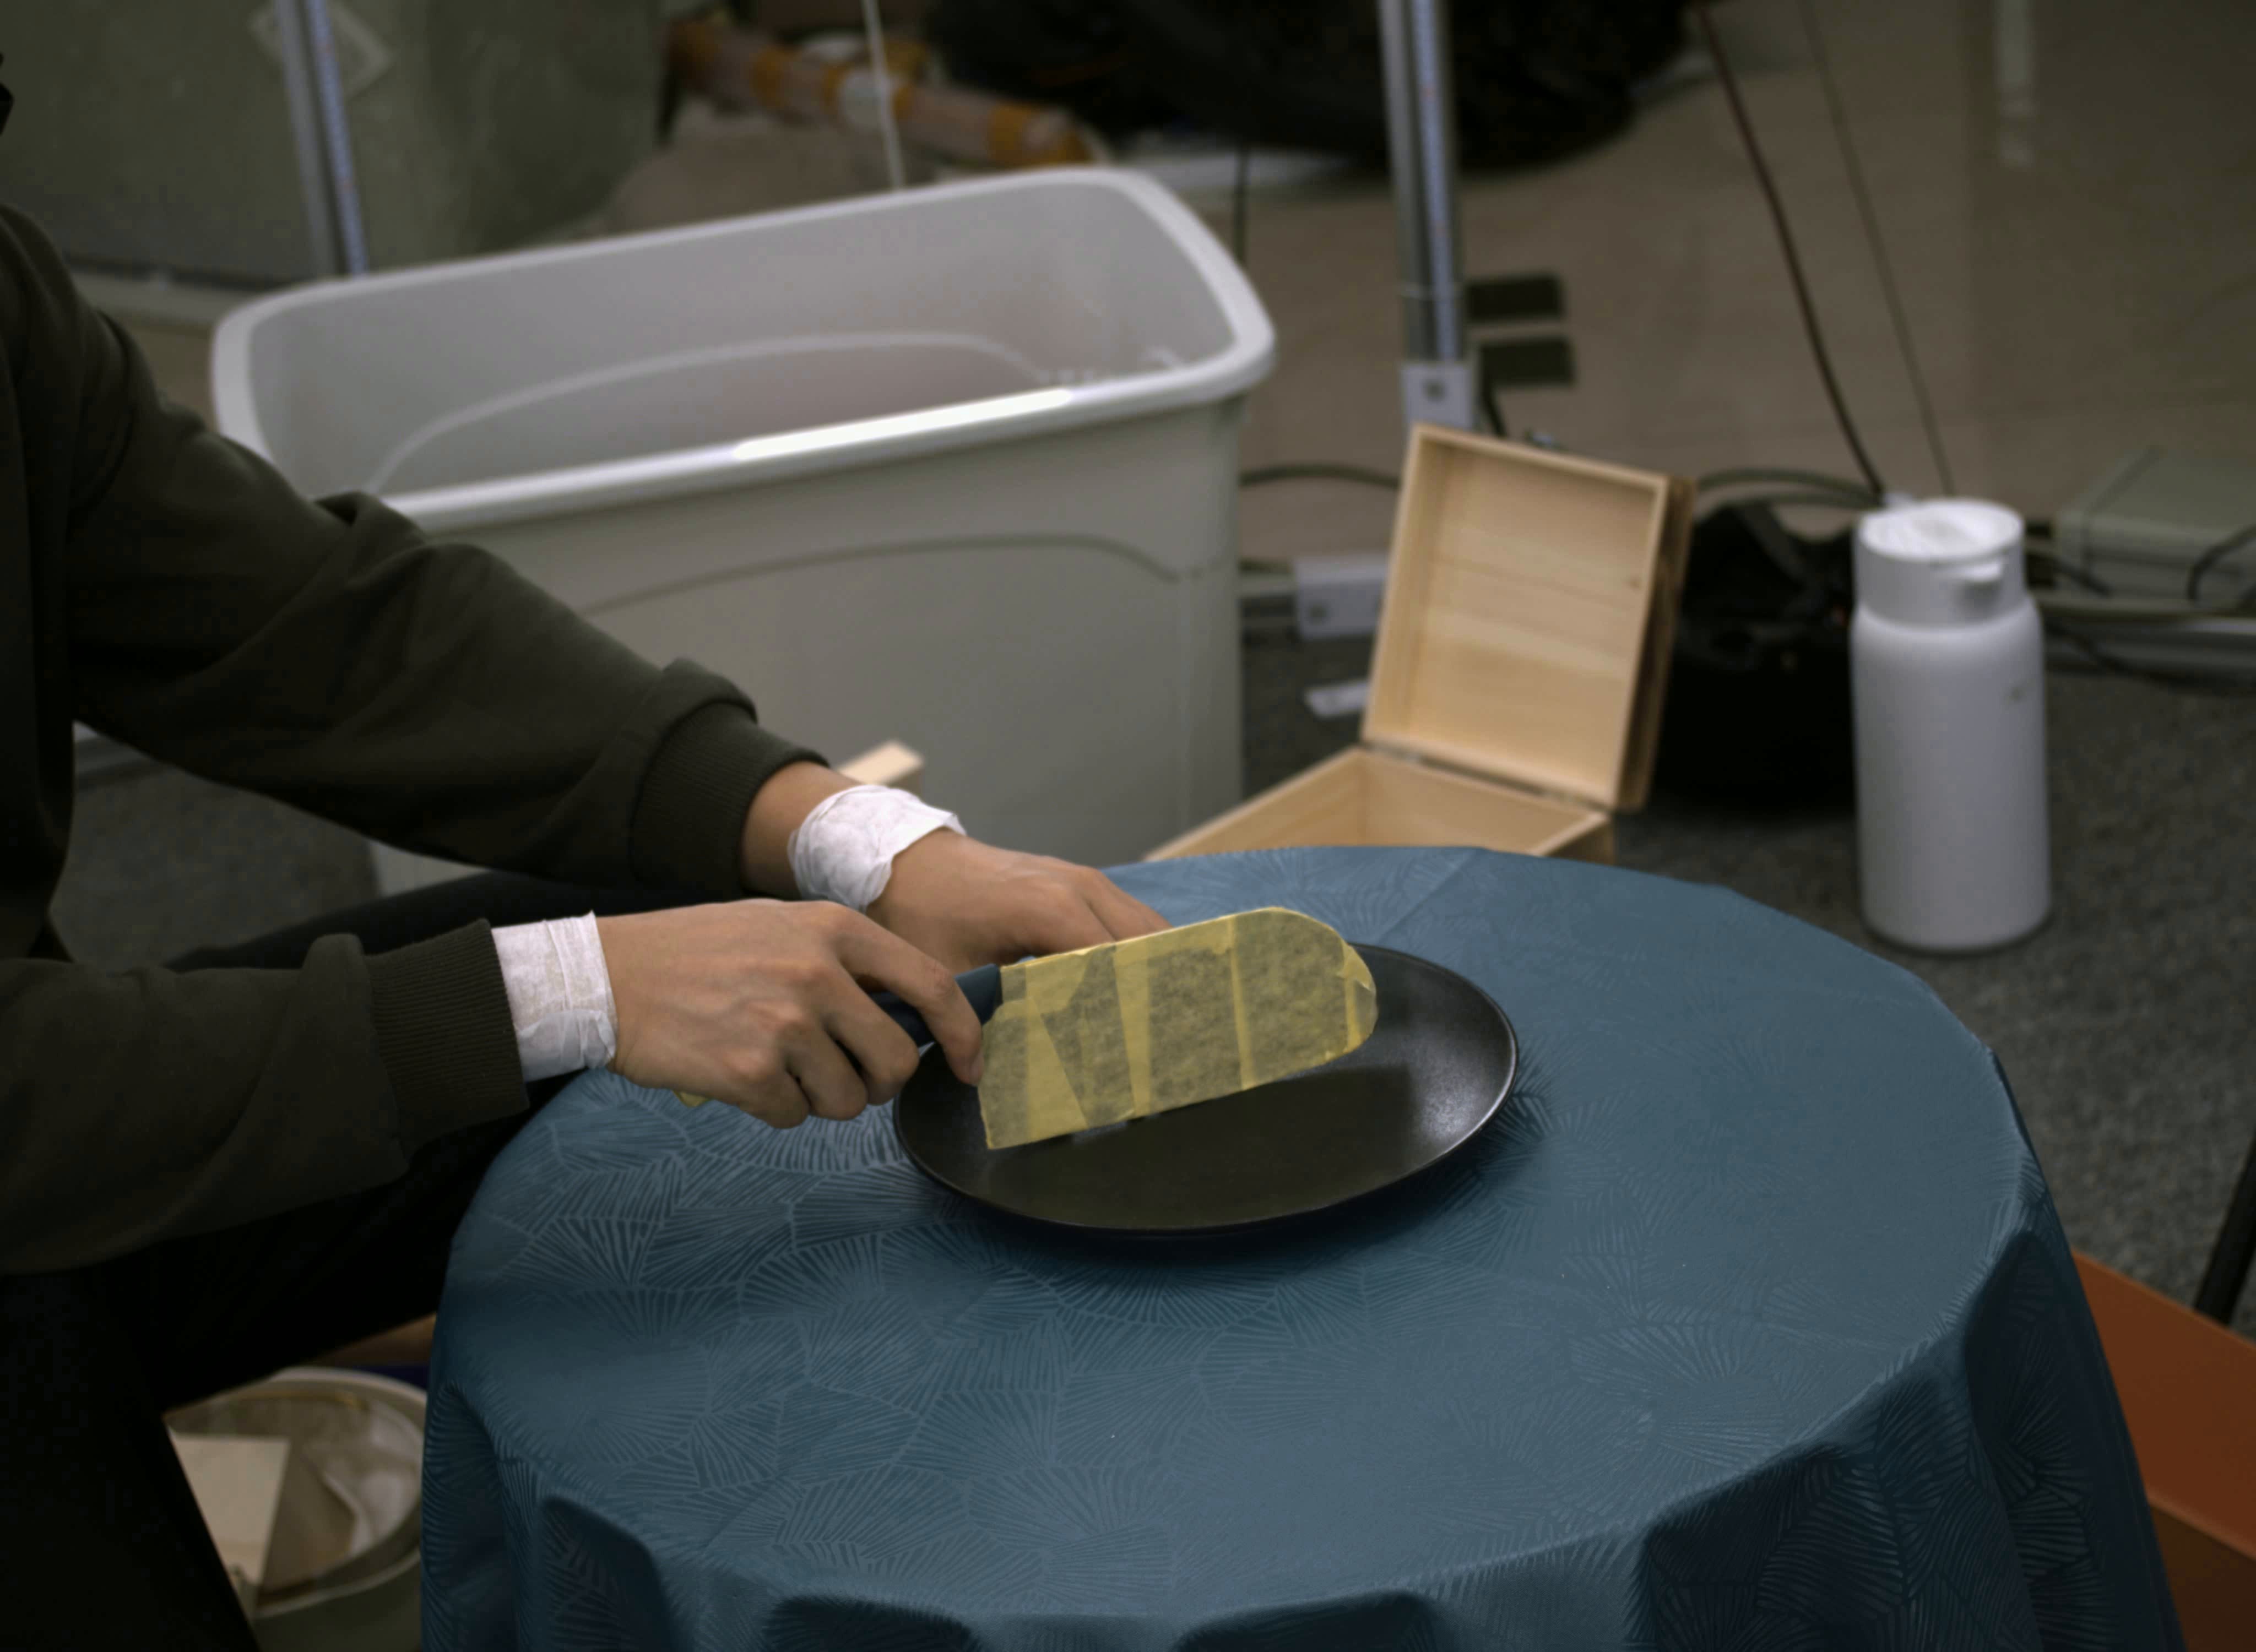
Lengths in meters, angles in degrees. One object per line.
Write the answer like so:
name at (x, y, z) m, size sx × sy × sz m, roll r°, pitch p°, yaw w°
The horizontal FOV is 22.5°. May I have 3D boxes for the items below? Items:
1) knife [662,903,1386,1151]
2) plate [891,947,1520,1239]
knife at (-0.036, 0.083, 2.163) m, size 0.289 × 0.082 × 0.027 m, roll -9°, pitch 18°, yaw -16°
plate at (0.031, 0.106, 2.187) m, size 0.244 × 0.024 × 0.241 m, roll -5°, pitch 25°, yaw 3°
